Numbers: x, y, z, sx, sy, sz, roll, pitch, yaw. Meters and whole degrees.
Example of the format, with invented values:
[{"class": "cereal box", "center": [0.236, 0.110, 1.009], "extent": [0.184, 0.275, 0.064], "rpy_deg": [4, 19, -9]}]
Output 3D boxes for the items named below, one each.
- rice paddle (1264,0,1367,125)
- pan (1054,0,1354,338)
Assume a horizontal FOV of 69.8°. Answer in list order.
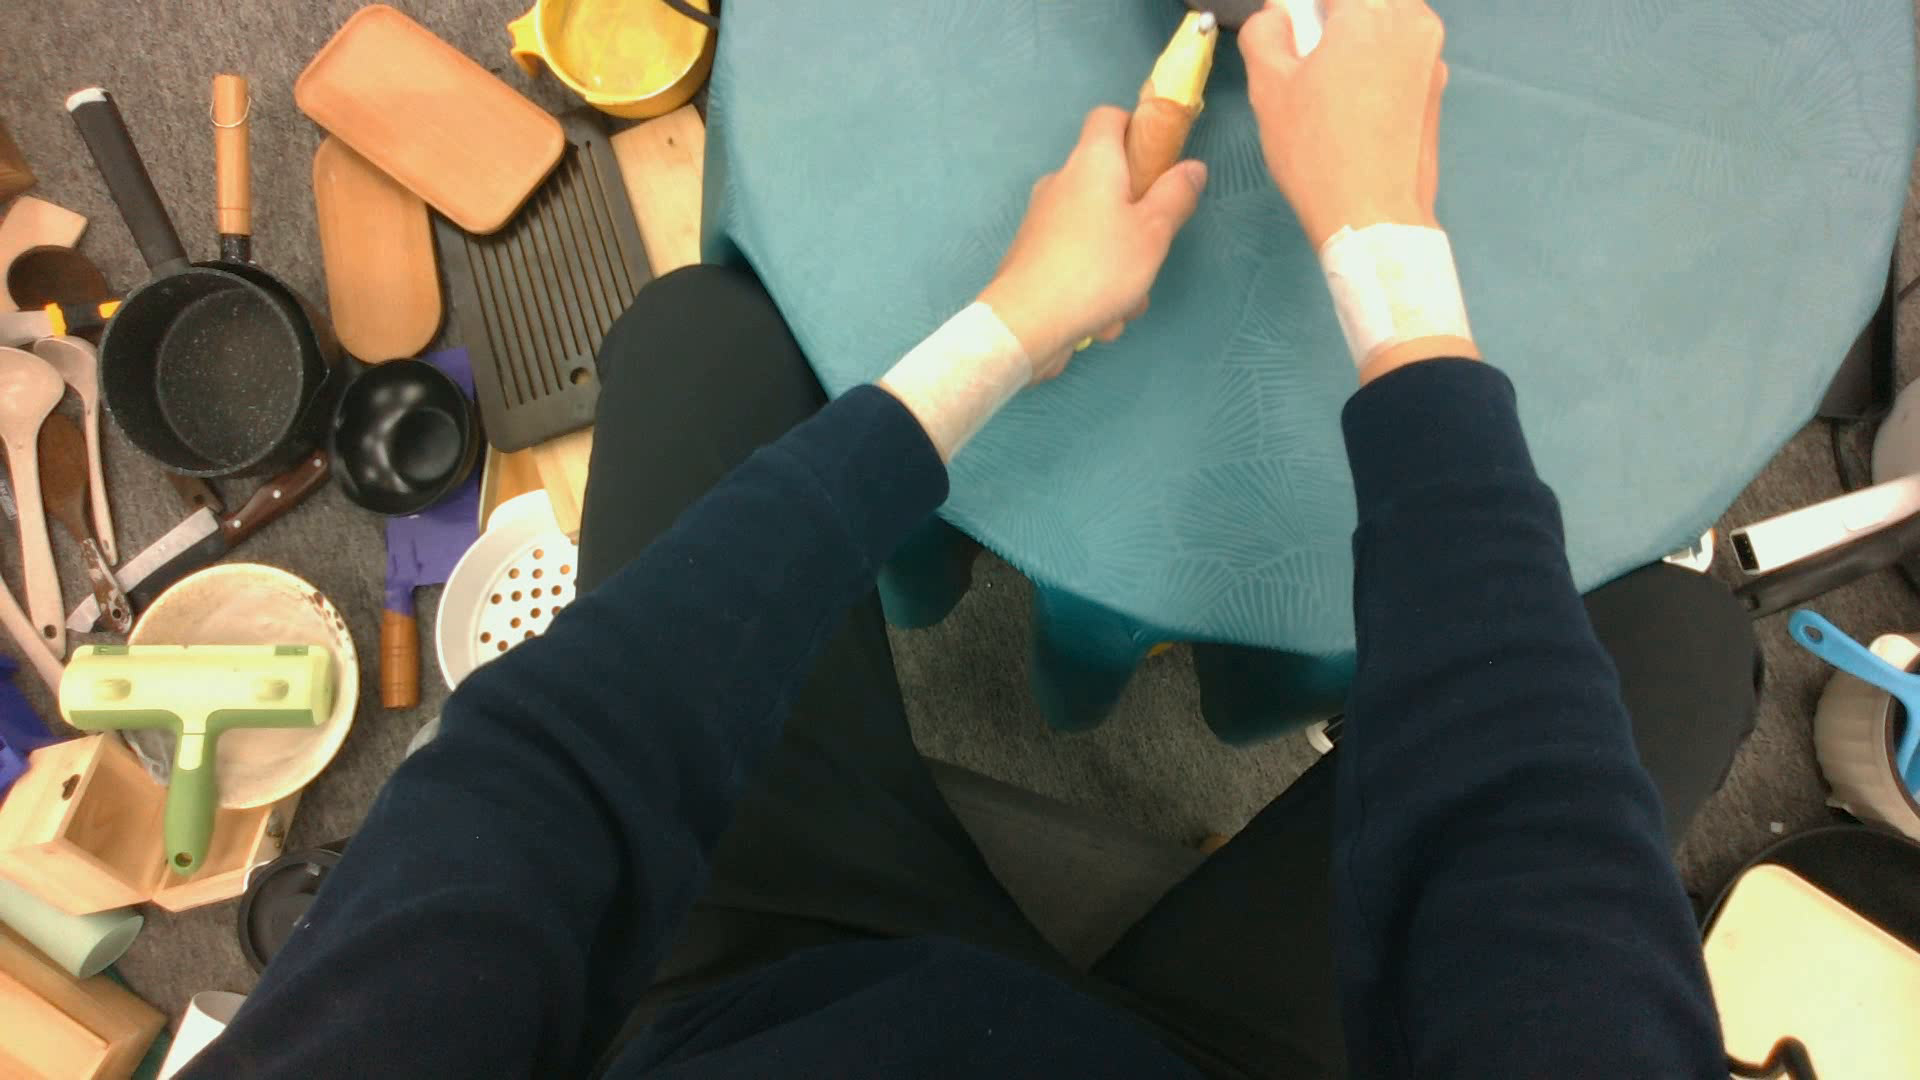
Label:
[{"class": "rice paddle", "center": [0.138, -0.283, 0.632], "extent": [0.069, 0.029, 0.206], "rpy_deg": [-10, 70, -11]}, {"class": "pan", "center": [0.102, -0.240, 0.645], "extent": [0.169, 0.049, 0.324], "rpy_deg": [27, 81, -16]}]
